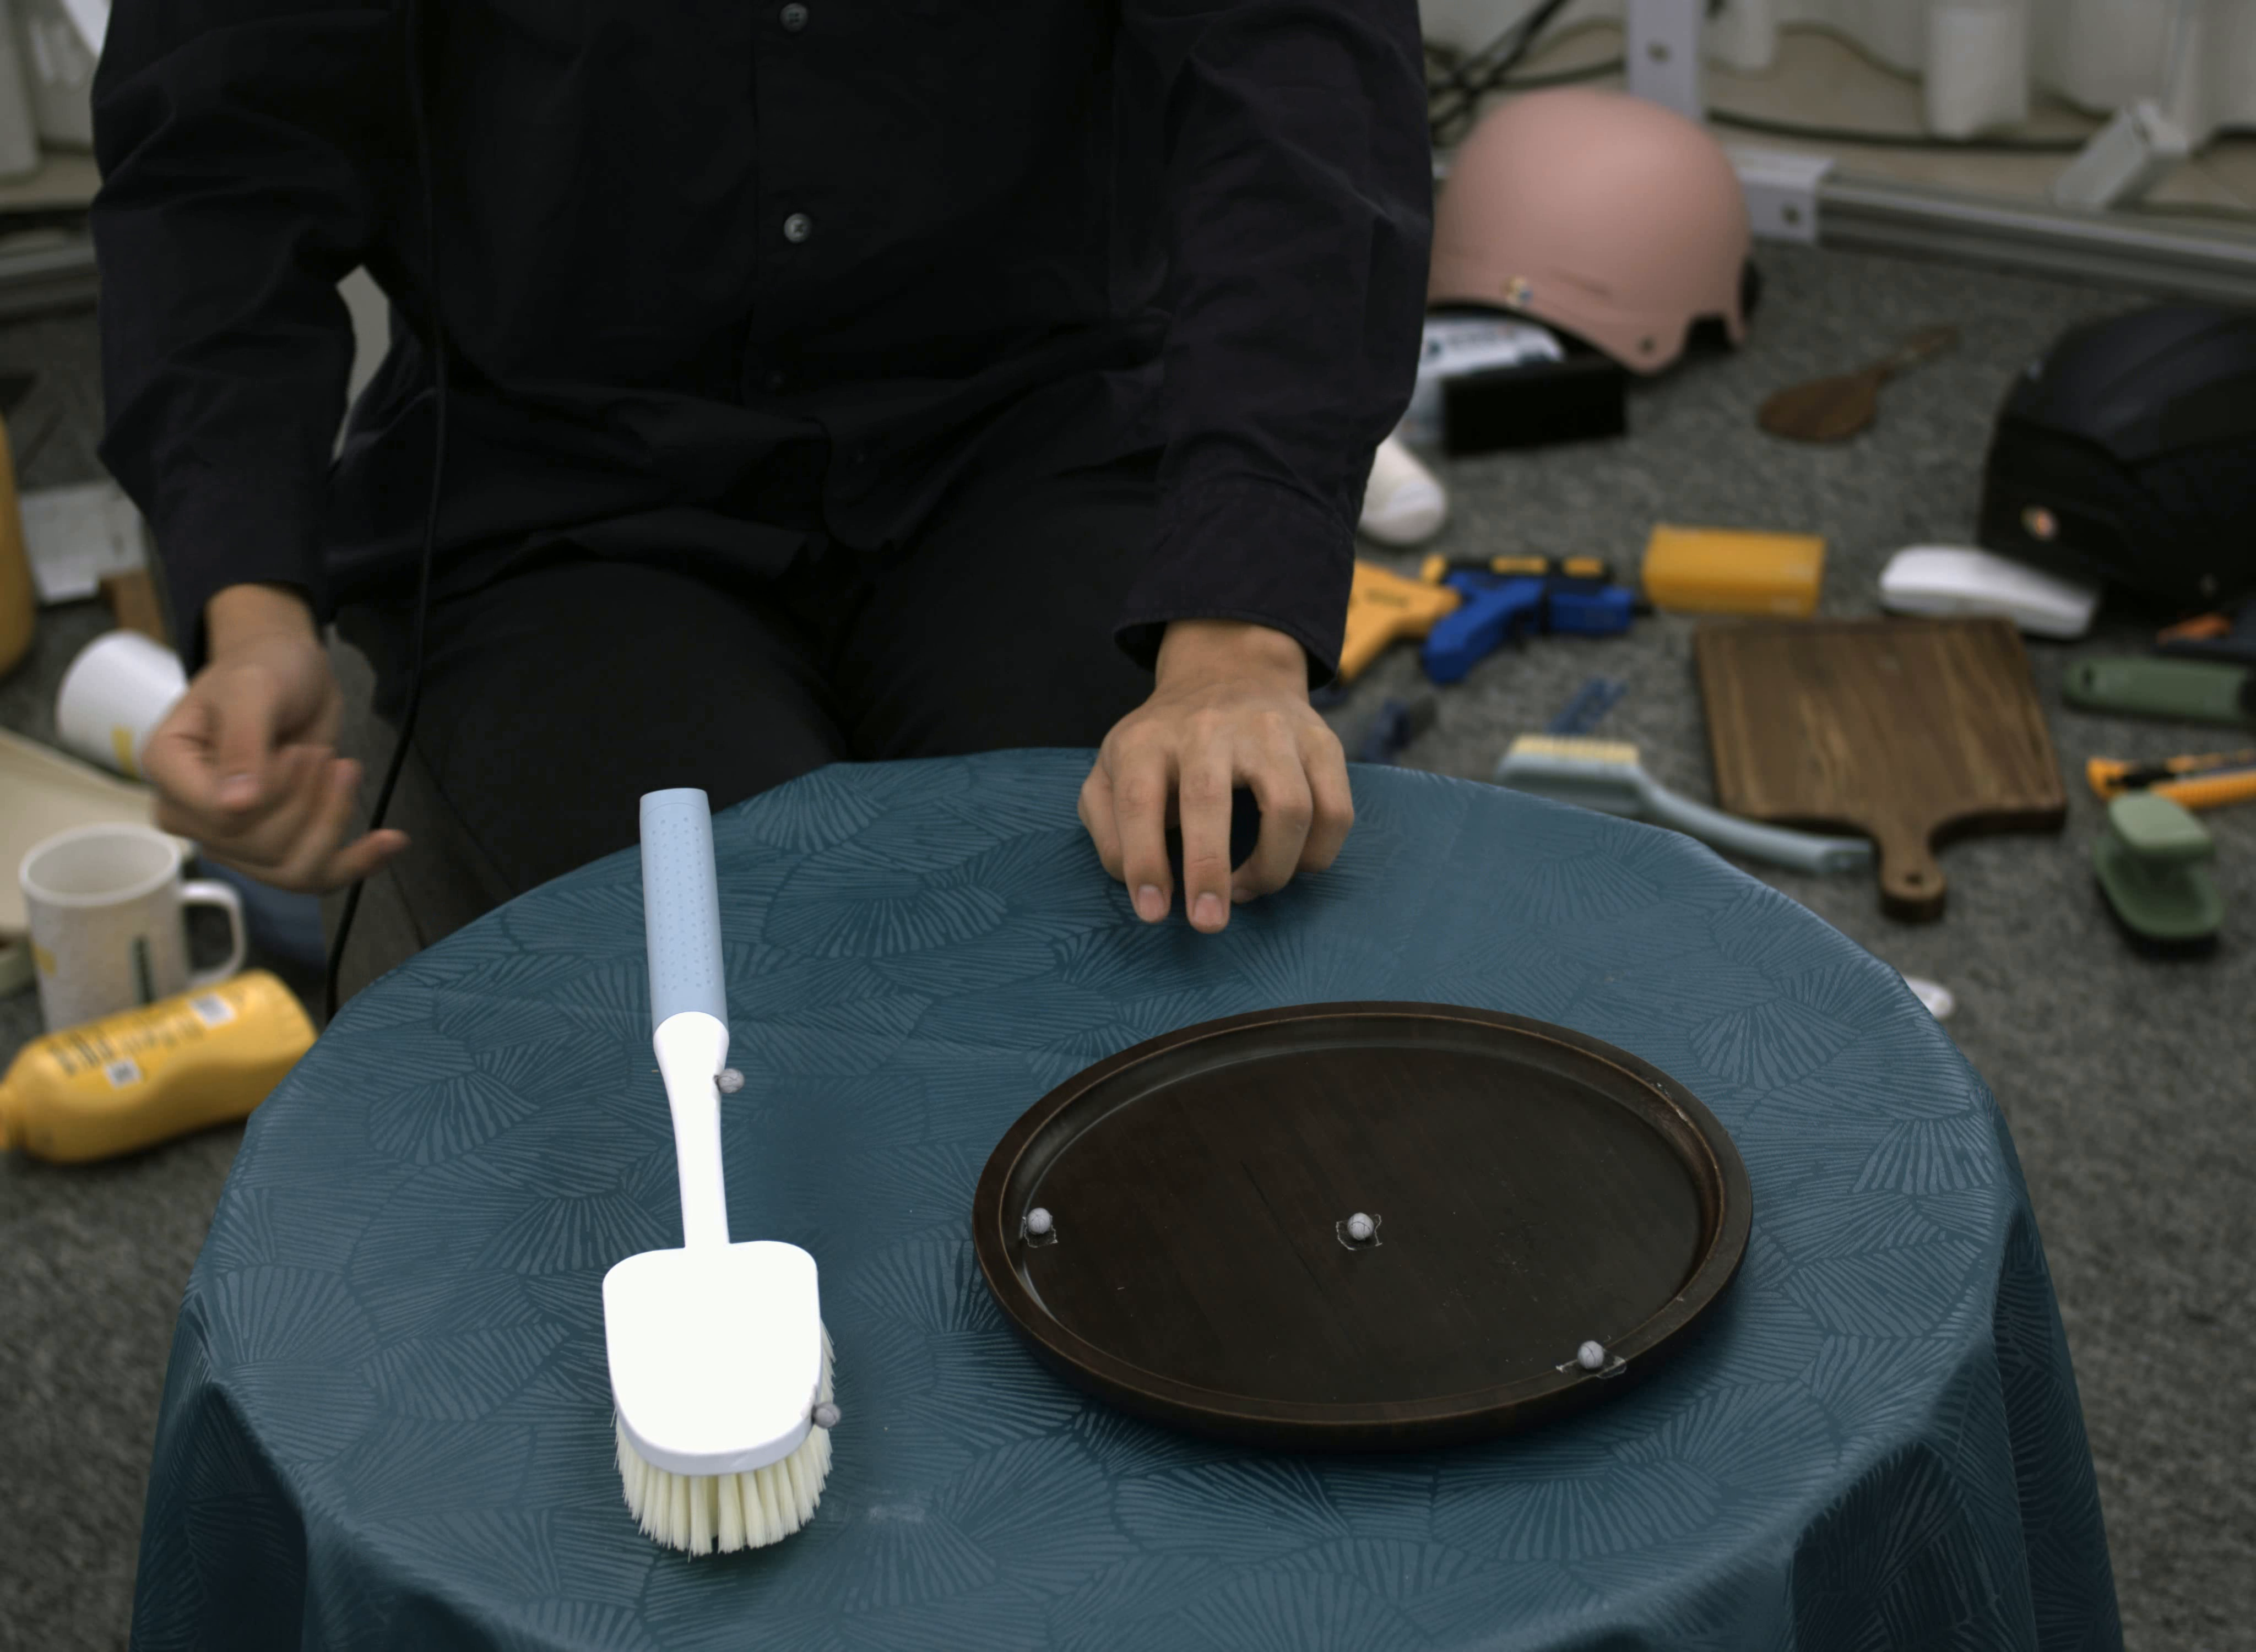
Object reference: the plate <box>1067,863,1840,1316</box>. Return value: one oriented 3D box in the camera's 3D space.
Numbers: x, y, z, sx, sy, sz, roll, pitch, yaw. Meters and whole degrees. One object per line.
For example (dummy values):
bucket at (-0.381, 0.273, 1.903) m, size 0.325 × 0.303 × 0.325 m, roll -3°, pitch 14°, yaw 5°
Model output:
plate at (0.106, 0.085, 1.837) m, size 0.253 × 0.029 × 0.259 m, roll -4°, pitch 29°, yaw 2°

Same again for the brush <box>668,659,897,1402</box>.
brush at (-0.112, 0.073, 1.822) m, size 0.083 × 0.083 × 0.331 m, roll 27°, pitch 31°, yaw -25°
